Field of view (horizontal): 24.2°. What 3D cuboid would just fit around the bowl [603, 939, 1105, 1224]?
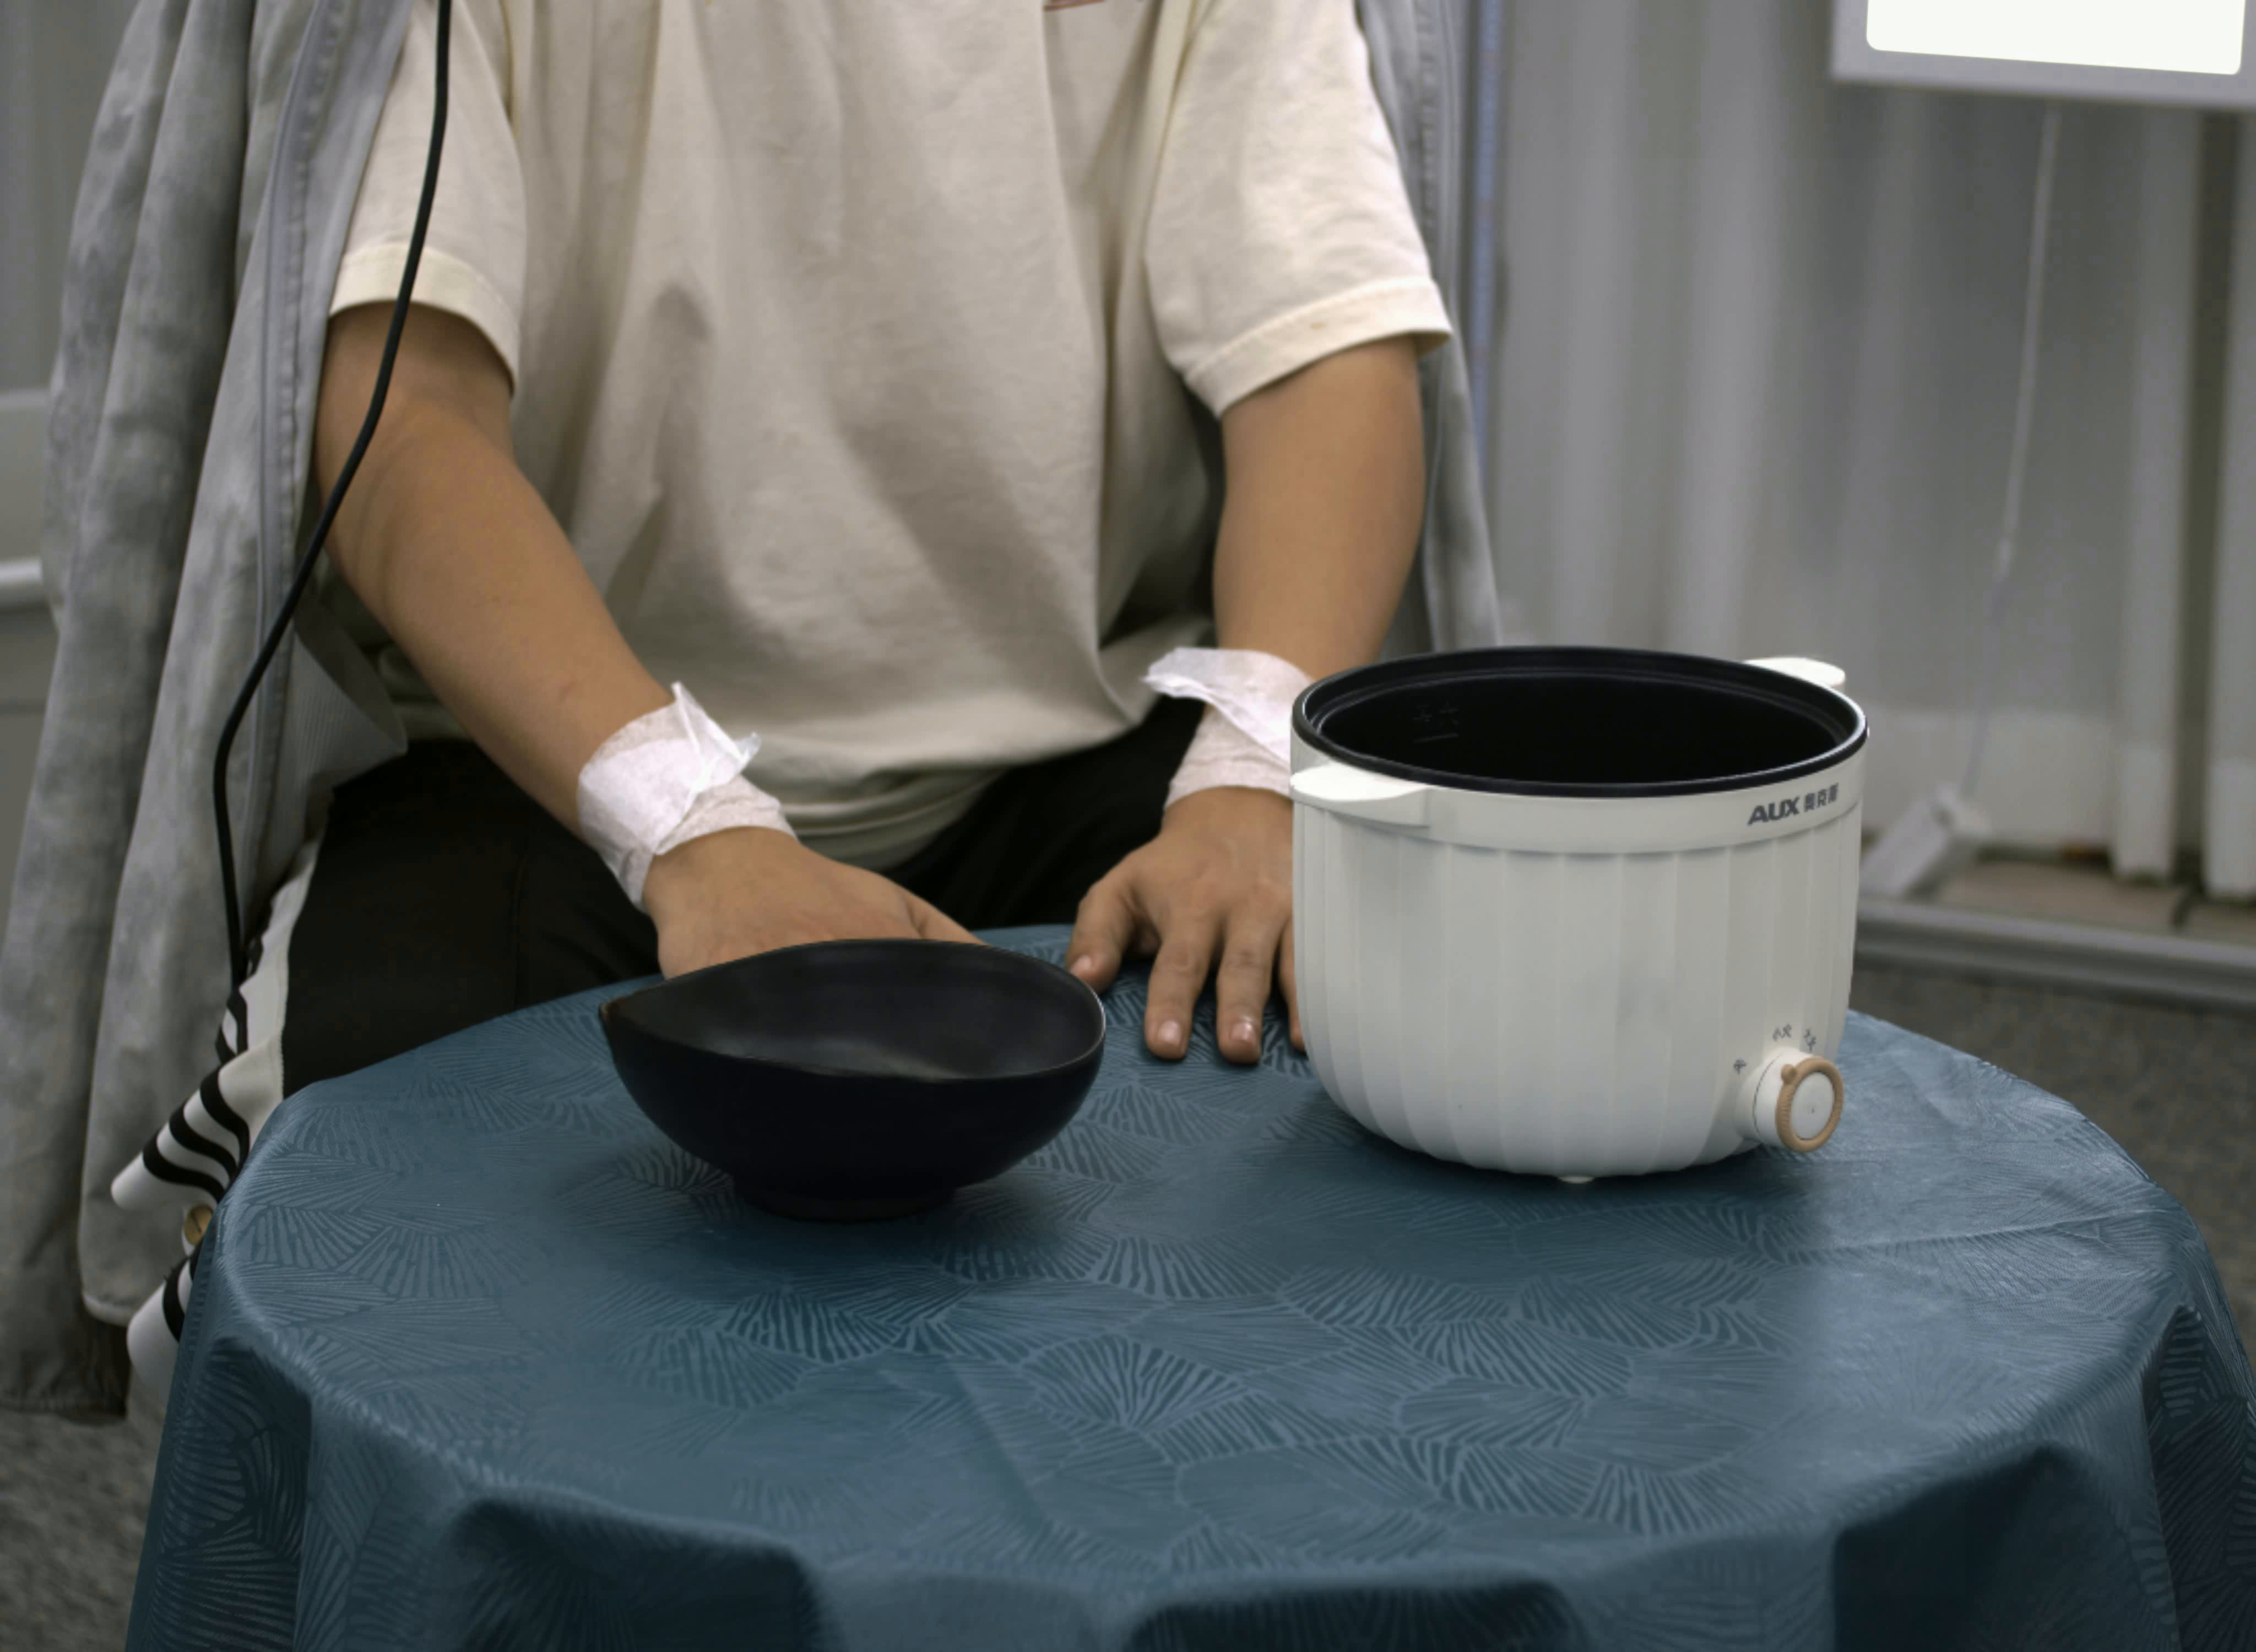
[{"bbox_3d":[-0.086,0.082,1.613,0.168,0.067,0.138,10,17,34],"label":"bowl"}]

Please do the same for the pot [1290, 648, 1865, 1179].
[{"bbox_3d":[0.146,0.029,1.673,0.241,0.144,0.188,-15,19,-42],"label":"pot"}]
